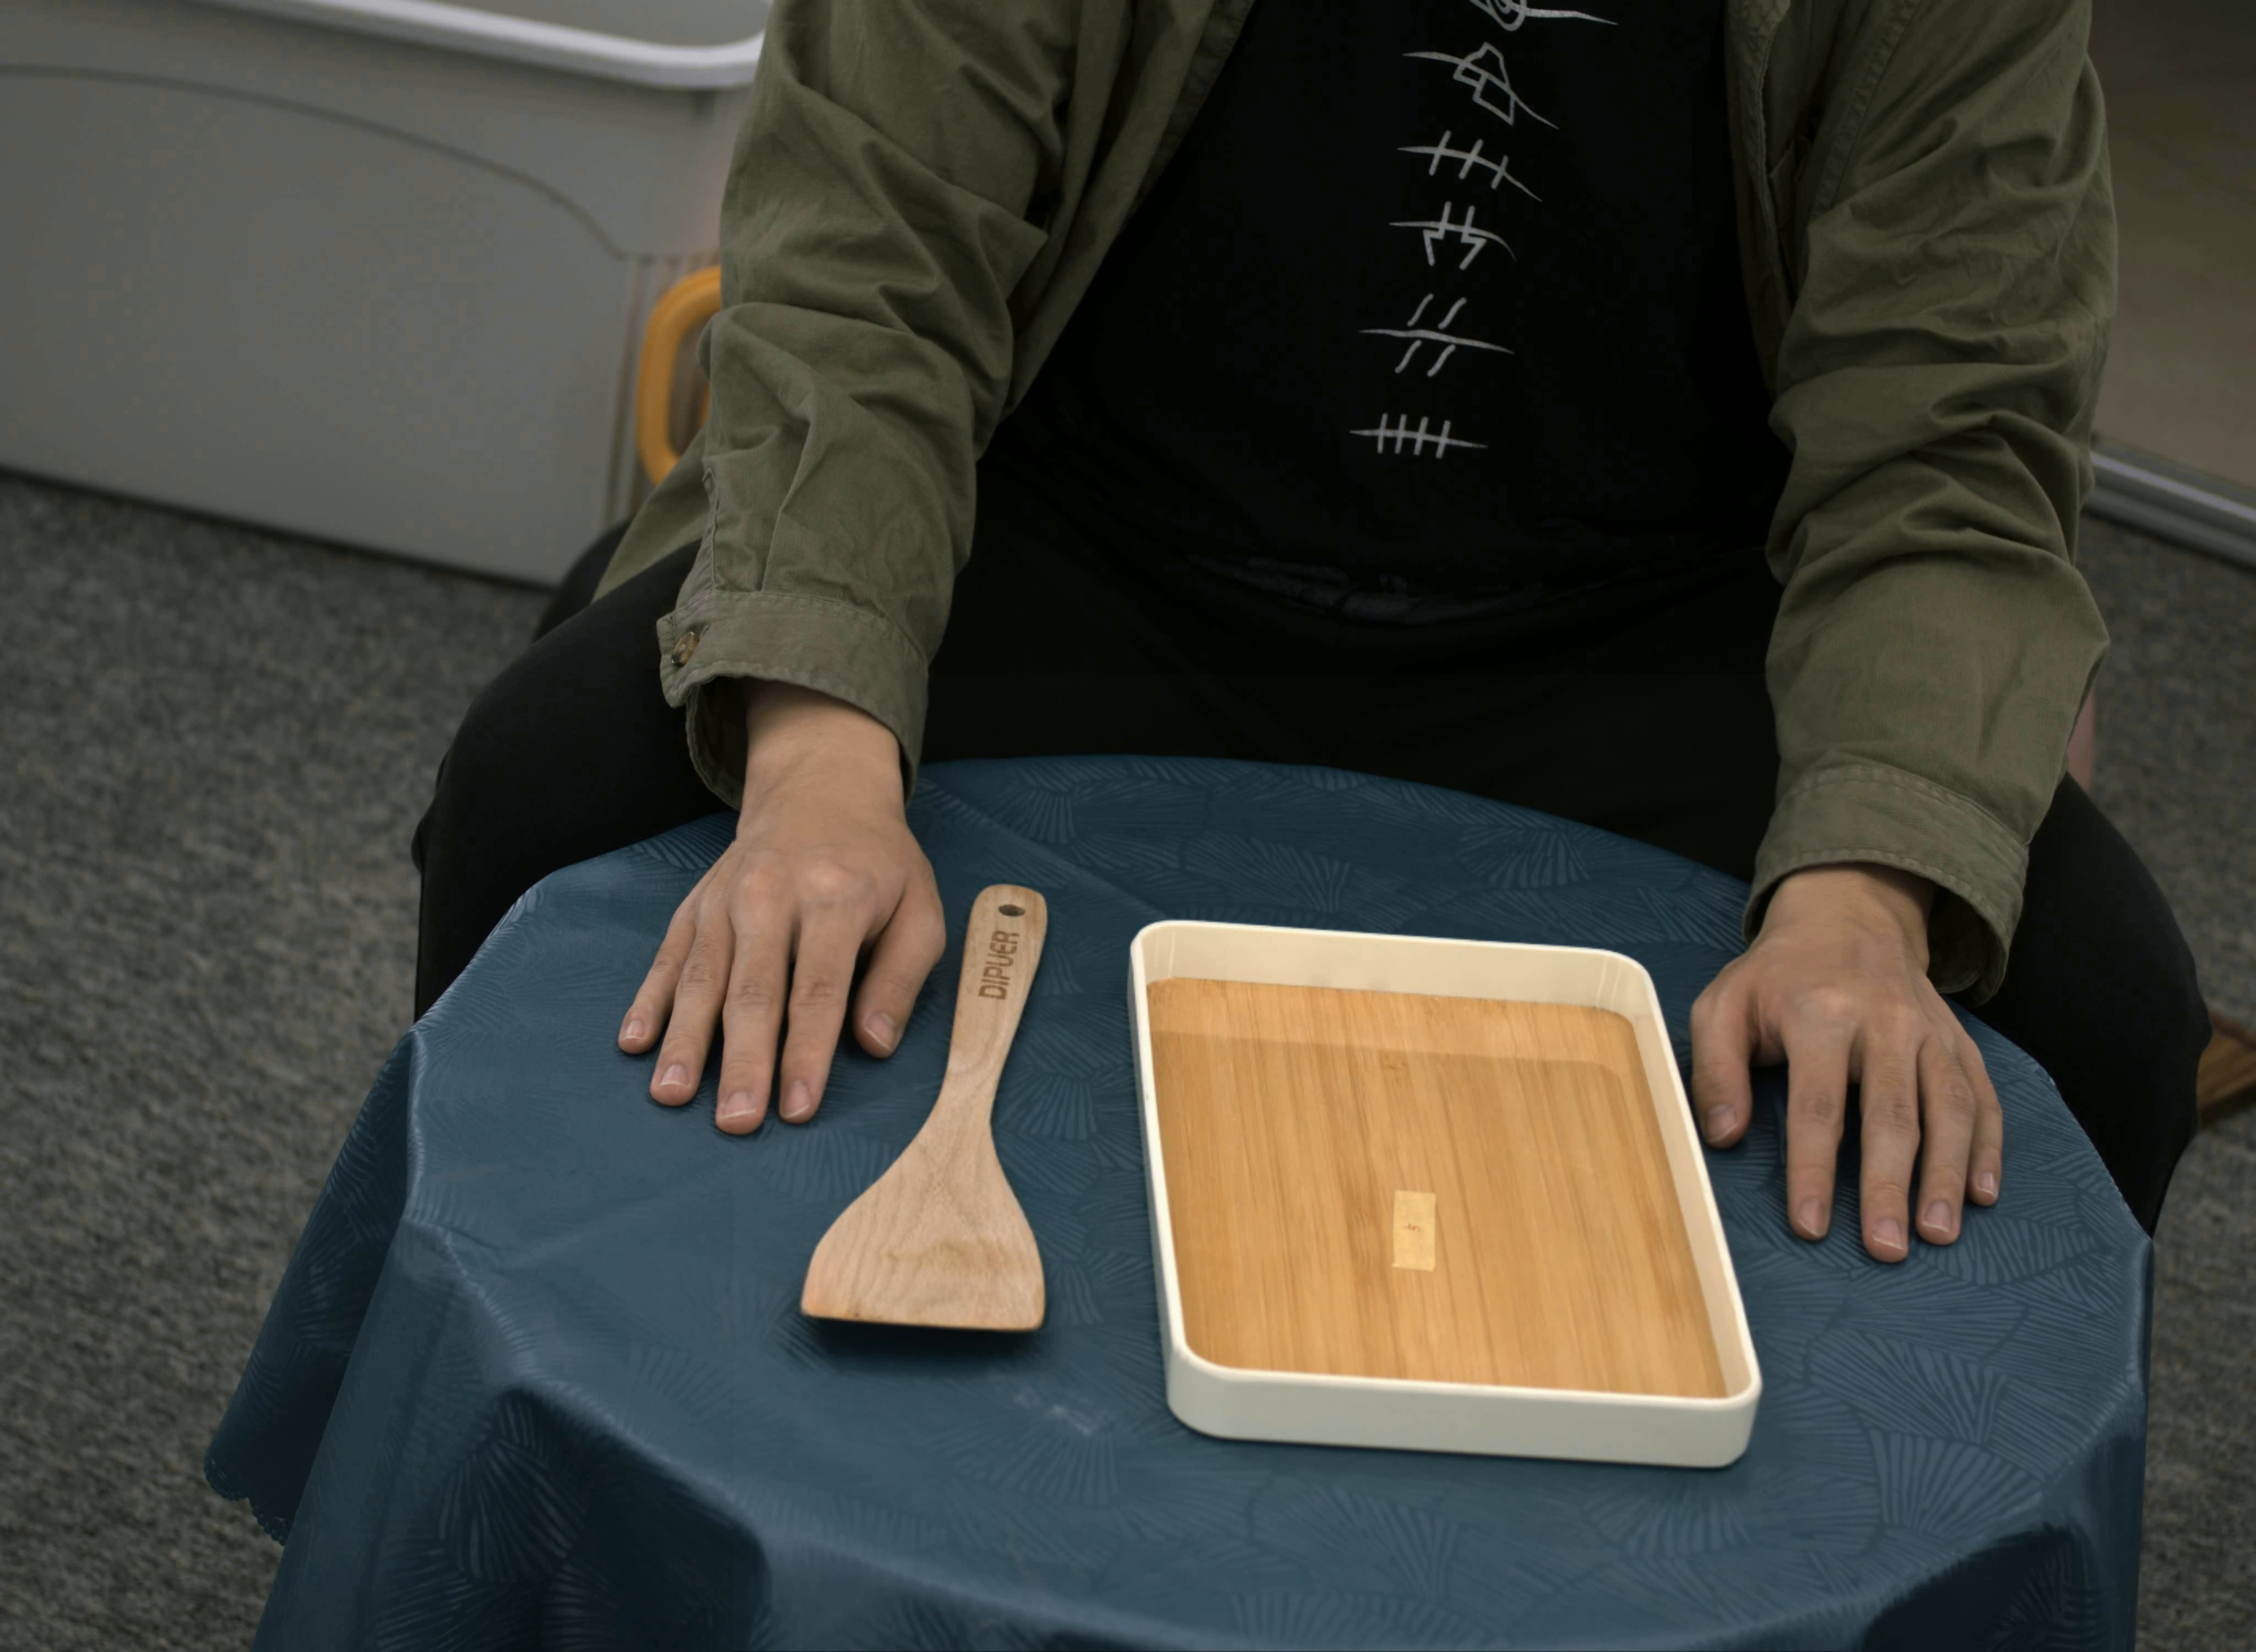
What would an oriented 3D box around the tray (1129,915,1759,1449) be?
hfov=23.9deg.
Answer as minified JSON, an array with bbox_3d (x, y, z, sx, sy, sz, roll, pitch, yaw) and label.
[{"bbox_3d":[0.100,0.116,1.805,0.191,0.027,0.302,5,26,-4],"label":"tray"}]

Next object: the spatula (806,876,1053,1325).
[{"bbox_3d":[-0.054,0.090,1.835,0.080,0.016,0.329,7,27,1],"label":"spatula"}]
